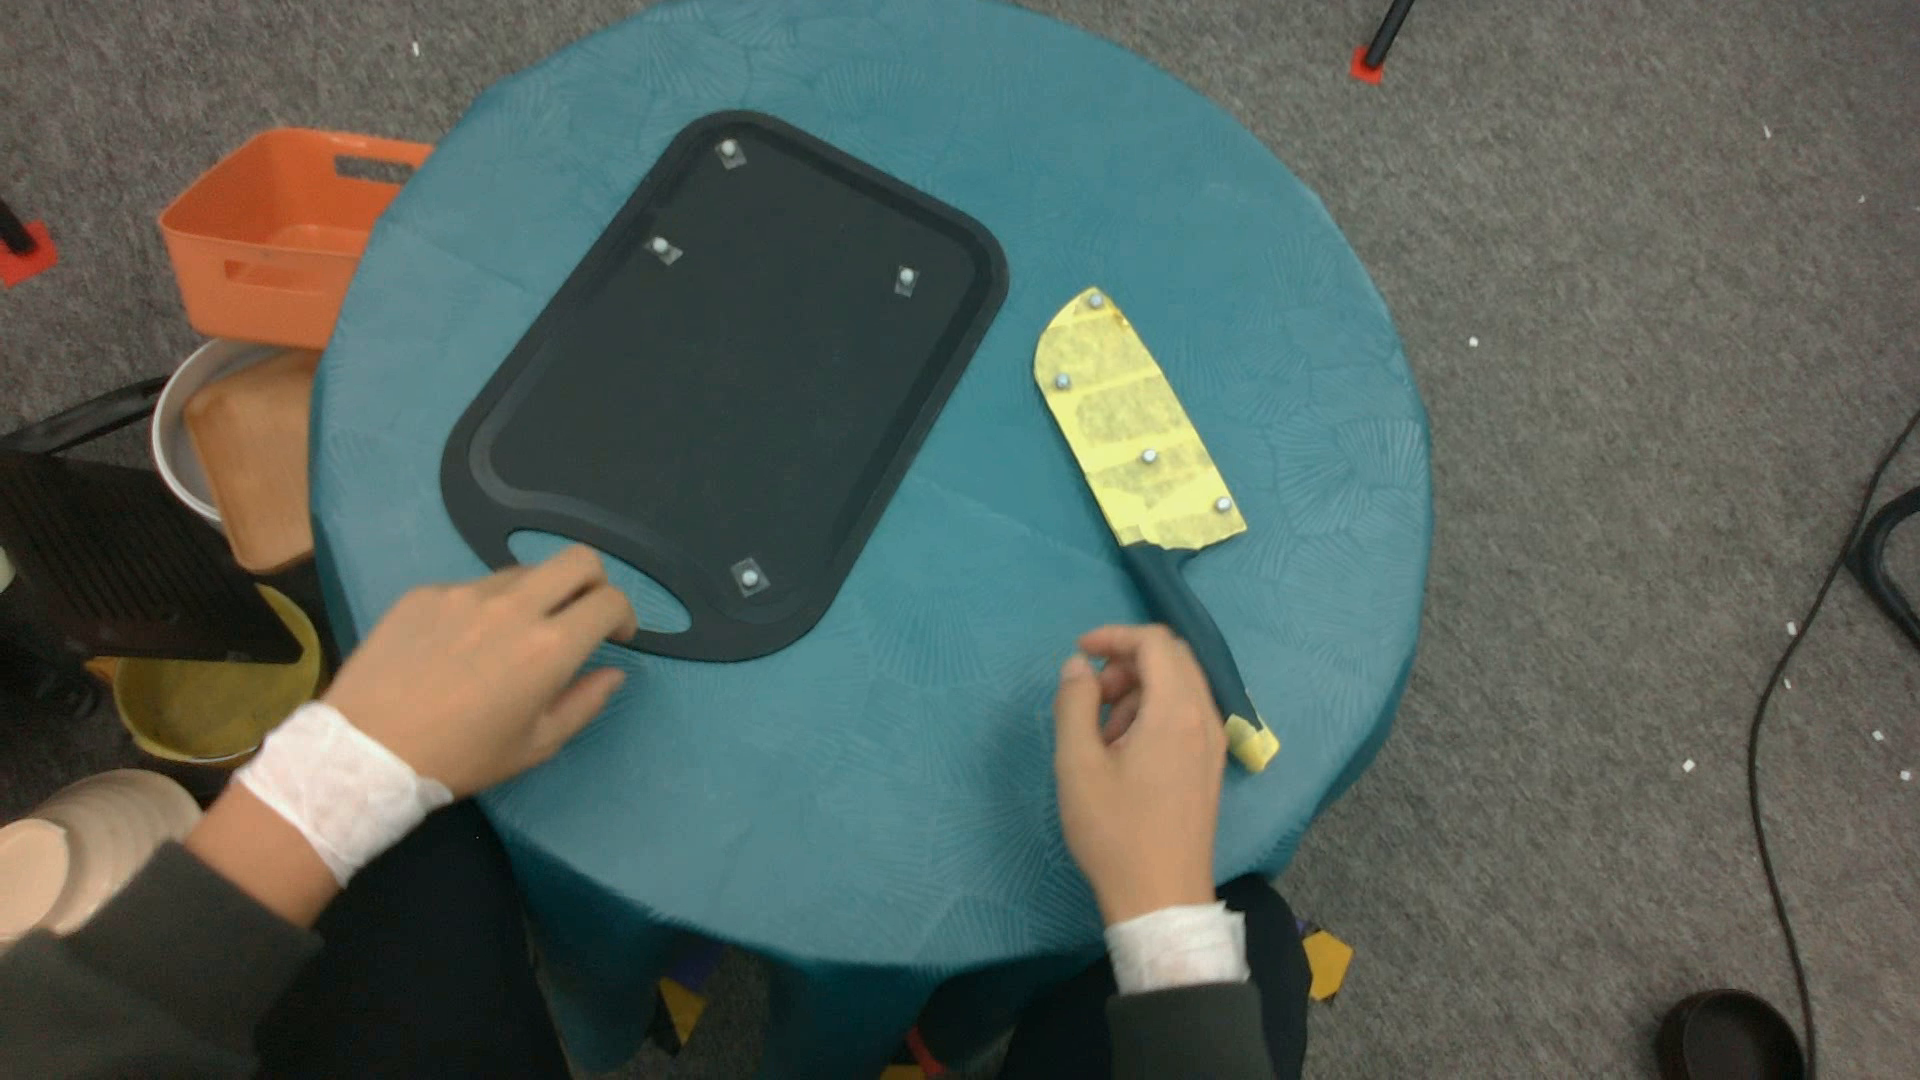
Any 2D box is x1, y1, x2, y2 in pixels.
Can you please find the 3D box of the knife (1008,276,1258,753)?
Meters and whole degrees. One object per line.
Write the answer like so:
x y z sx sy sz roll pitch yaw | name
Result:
0.100 -0.024 0.742 0.081 0.027 0.290 -16 70 -16 | knife

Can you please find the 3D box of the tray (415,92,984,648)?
-0.131 -0.098 0.731 0.211 0.010 0.327 27 65 1 | tray
